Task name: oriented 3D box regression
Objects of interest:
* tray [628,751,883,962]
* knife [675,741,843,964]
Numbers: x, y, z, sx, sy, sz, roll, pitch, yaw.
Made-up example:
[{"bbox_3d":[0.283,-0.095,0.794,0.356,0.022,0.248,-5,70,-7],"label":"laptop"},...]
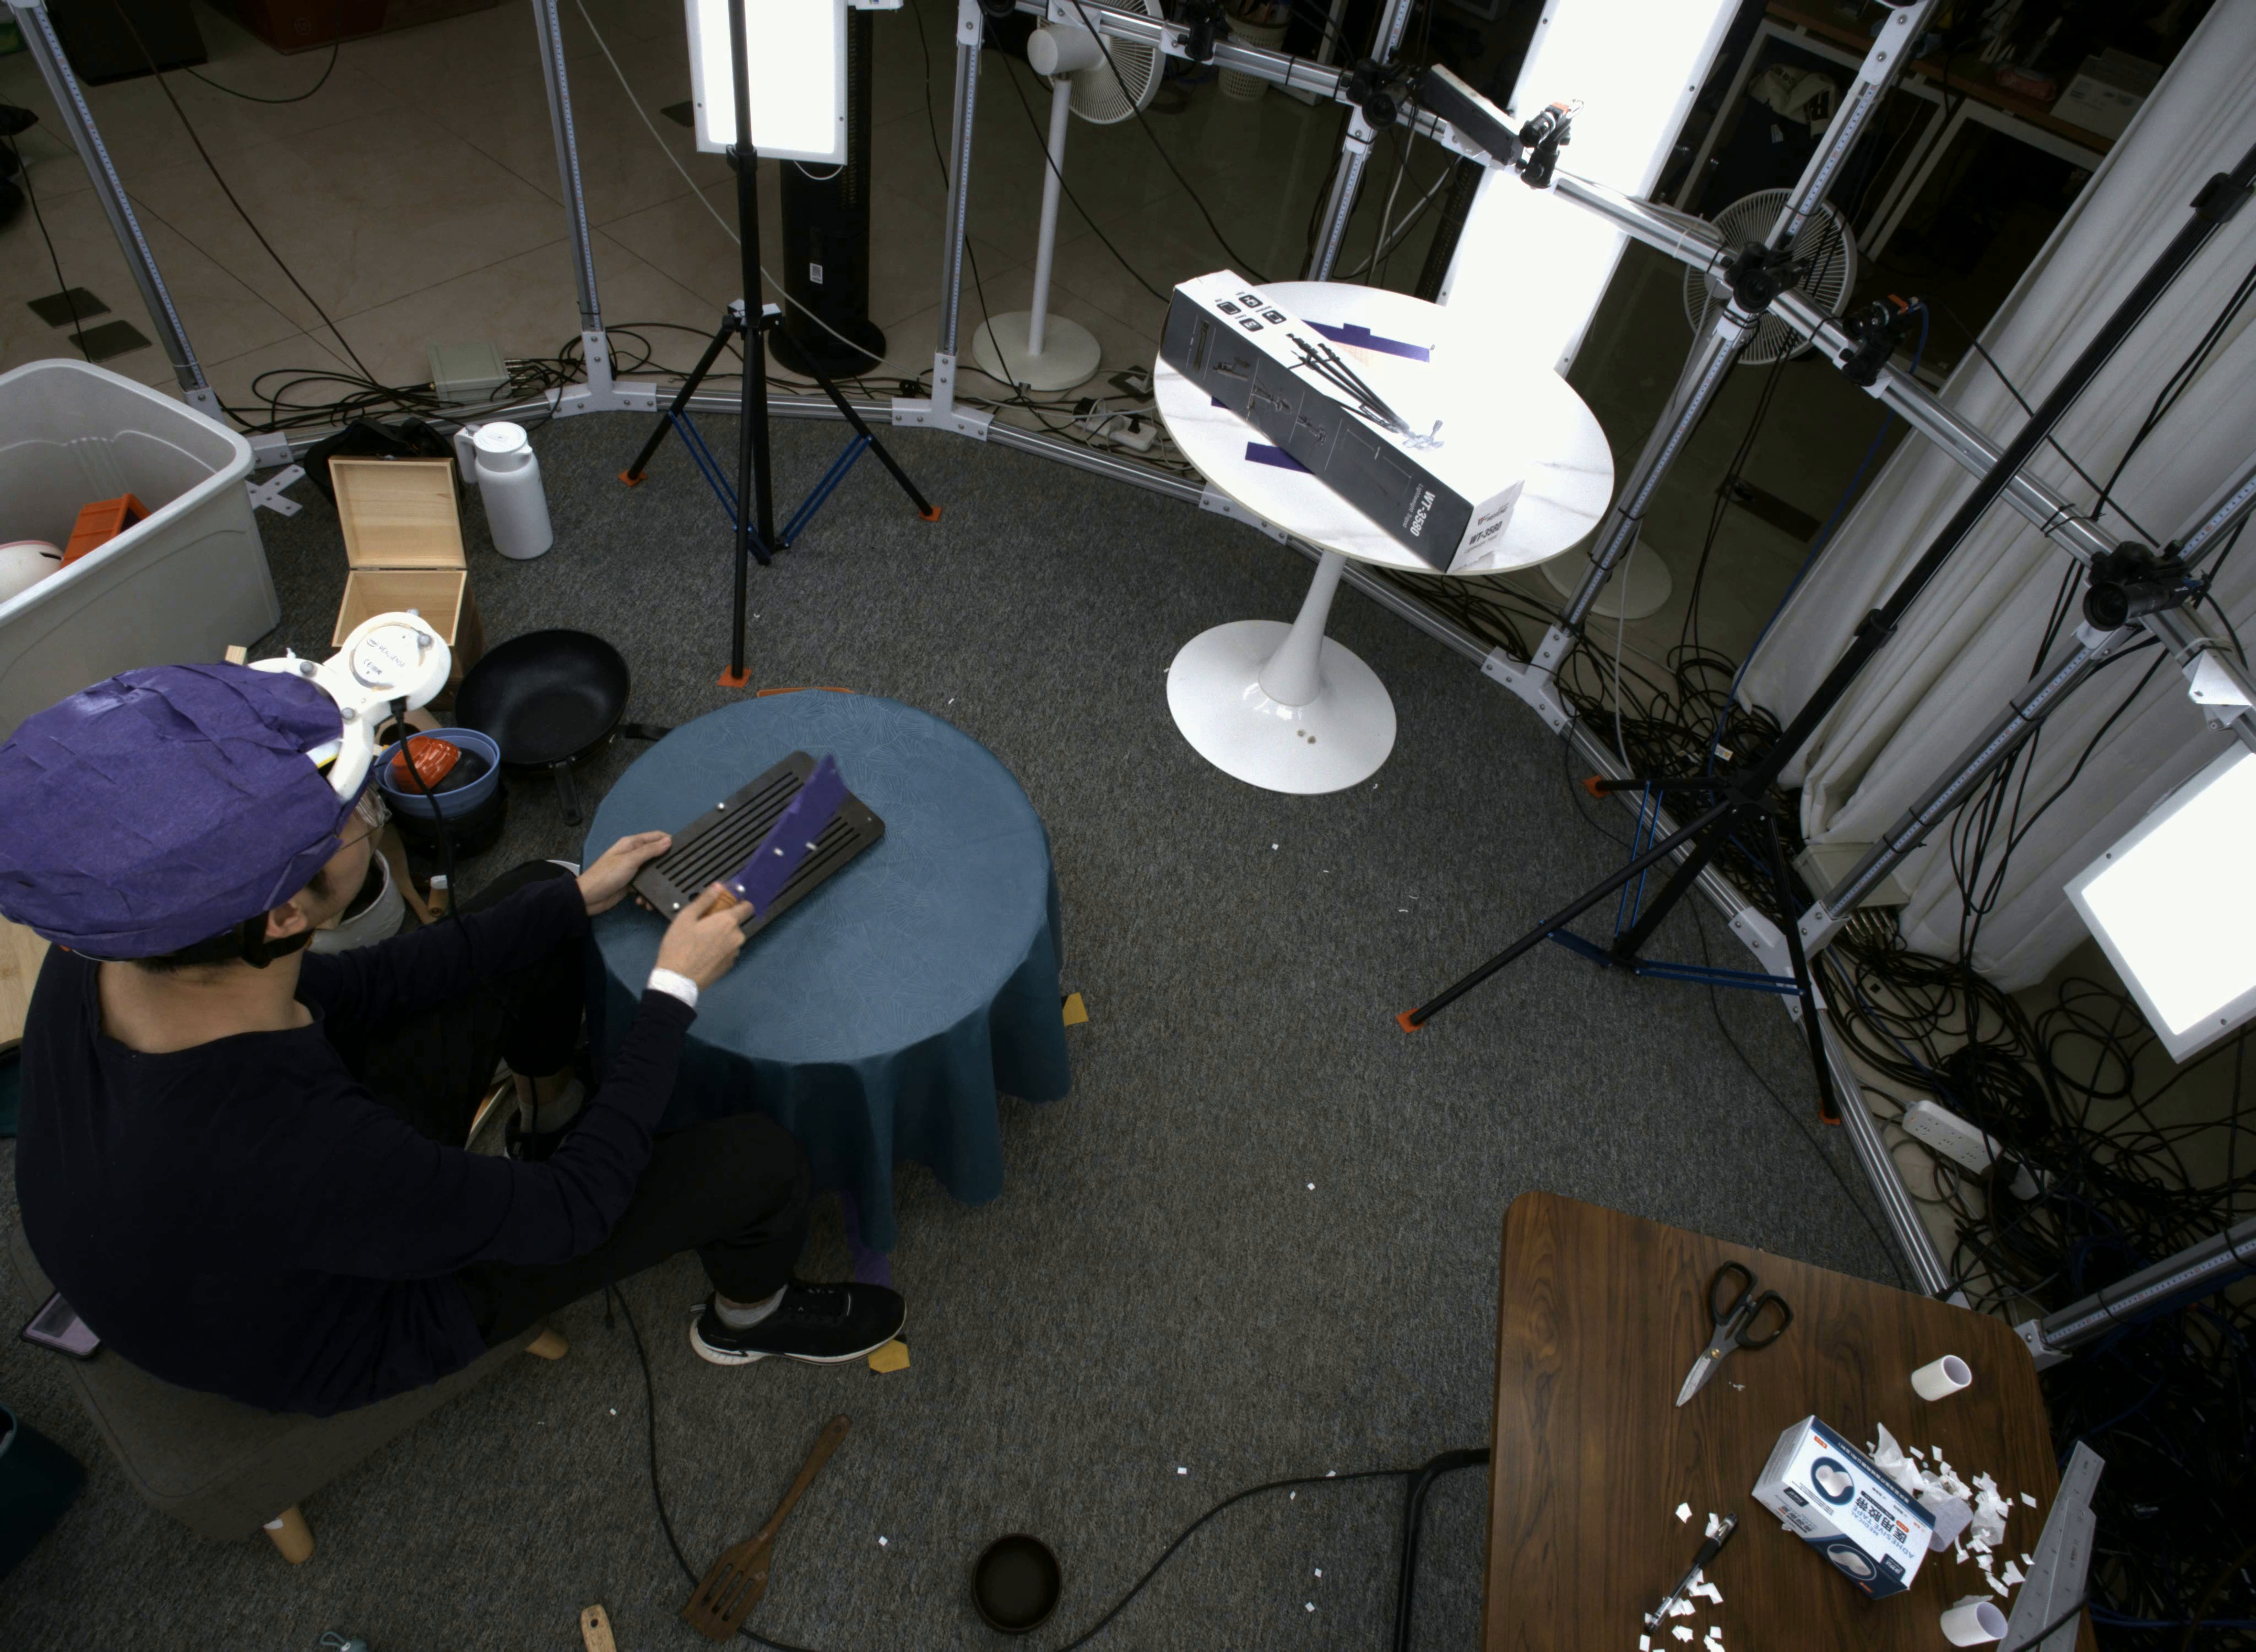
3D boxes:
[{"bbox_3d":[-0.474,0.032,1.664,0.168,0.019,0.306,41,52,7],"label":"tray"},{"bbox_3d":[-0.428,0.043,1.543,0.031,0.107,0.314,21,60,17],"label":"knife"}]
